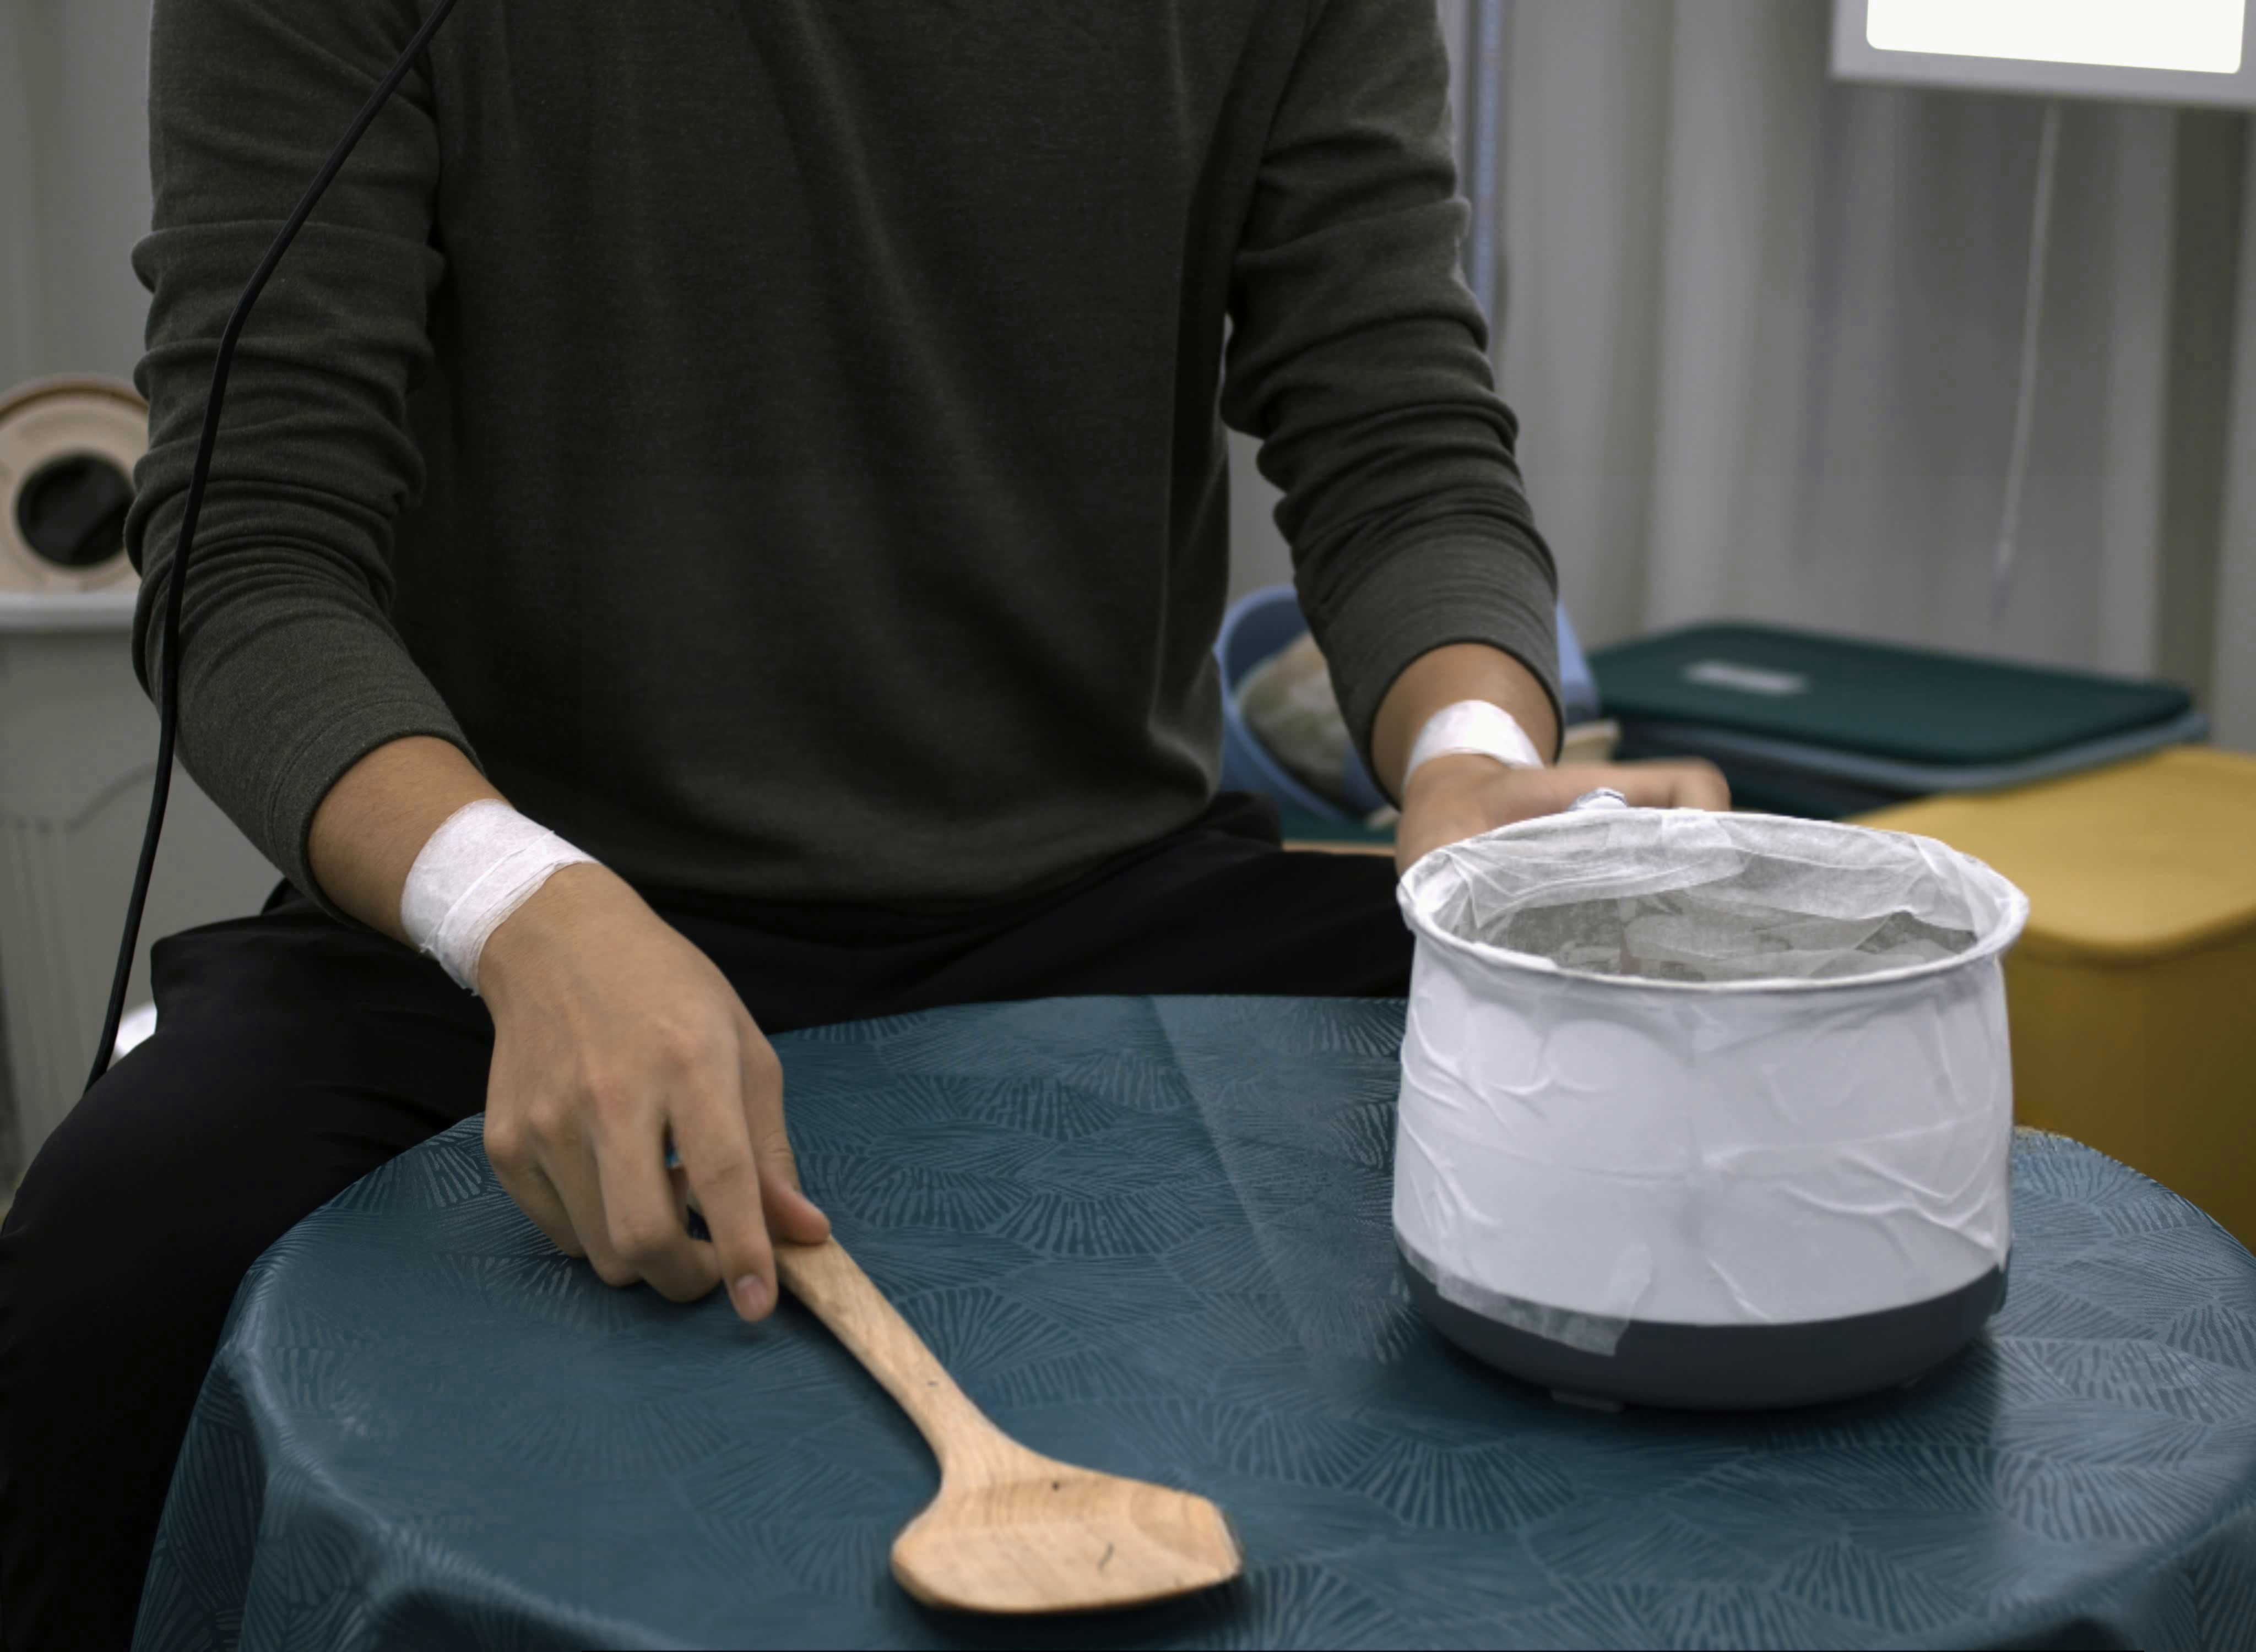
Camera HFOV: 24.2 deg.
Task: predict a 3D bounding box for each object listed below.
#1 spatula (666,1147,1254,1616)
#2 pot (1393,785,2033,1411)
[{"bbox_3d":[-0.072,0.148,1.462,0.096,0.018,0.386,-4,16,-20],"label":"spatula"},{"bbox_3d":[0.157,0.072,1.517,0.179,0.138,0.231,-3,16,-14],"label":"pot"}]
